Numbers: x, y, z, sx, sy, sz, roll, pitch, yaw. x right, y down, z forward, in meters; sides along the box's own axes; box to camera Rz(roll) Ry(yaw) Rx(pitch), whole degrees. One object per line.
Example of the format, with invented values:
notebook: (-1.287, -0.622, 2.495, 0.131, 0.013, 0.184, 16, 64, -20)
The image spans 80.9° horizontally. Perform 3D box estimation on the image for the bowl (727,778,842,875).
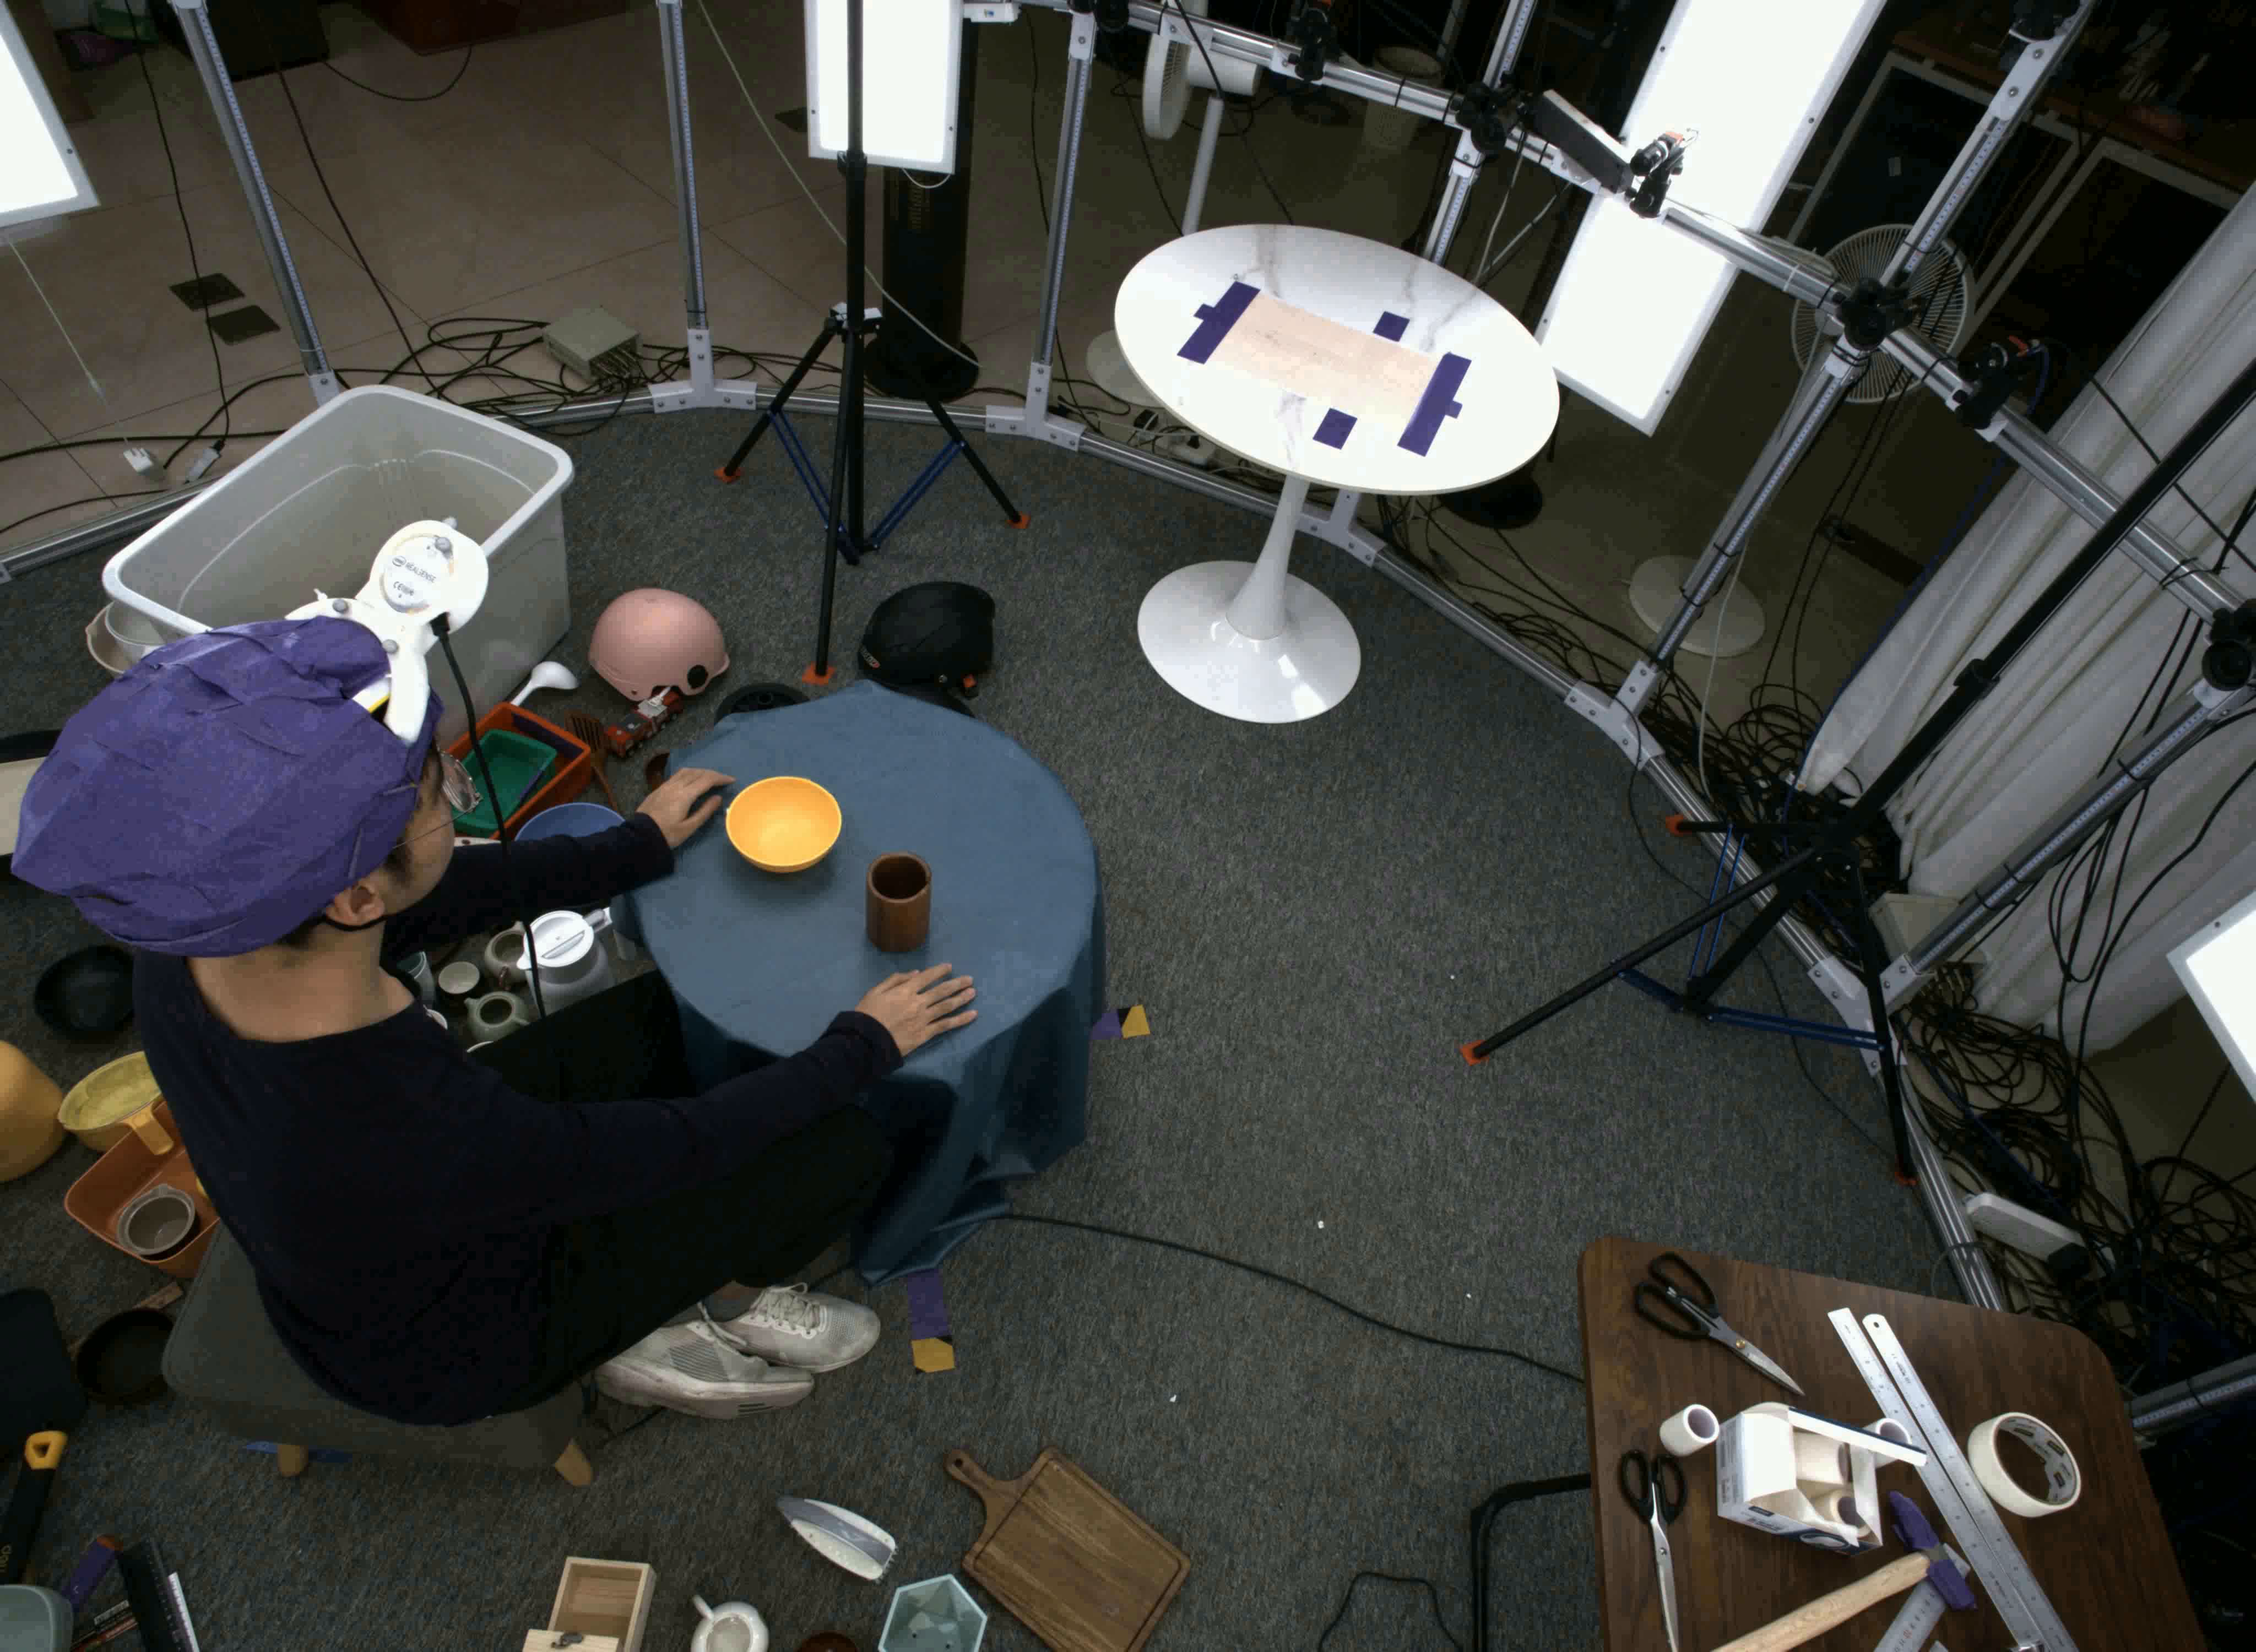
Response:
bowl: (-0.442, 0.011, 1.677, 0.145, 0.061, 0.143, 6, 54, -7)

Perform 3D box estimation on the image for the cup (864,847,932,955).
cup: (-0.285, 0.094, 1.615, 0.087, 0.121, 0.086, 5, 51, -5)
